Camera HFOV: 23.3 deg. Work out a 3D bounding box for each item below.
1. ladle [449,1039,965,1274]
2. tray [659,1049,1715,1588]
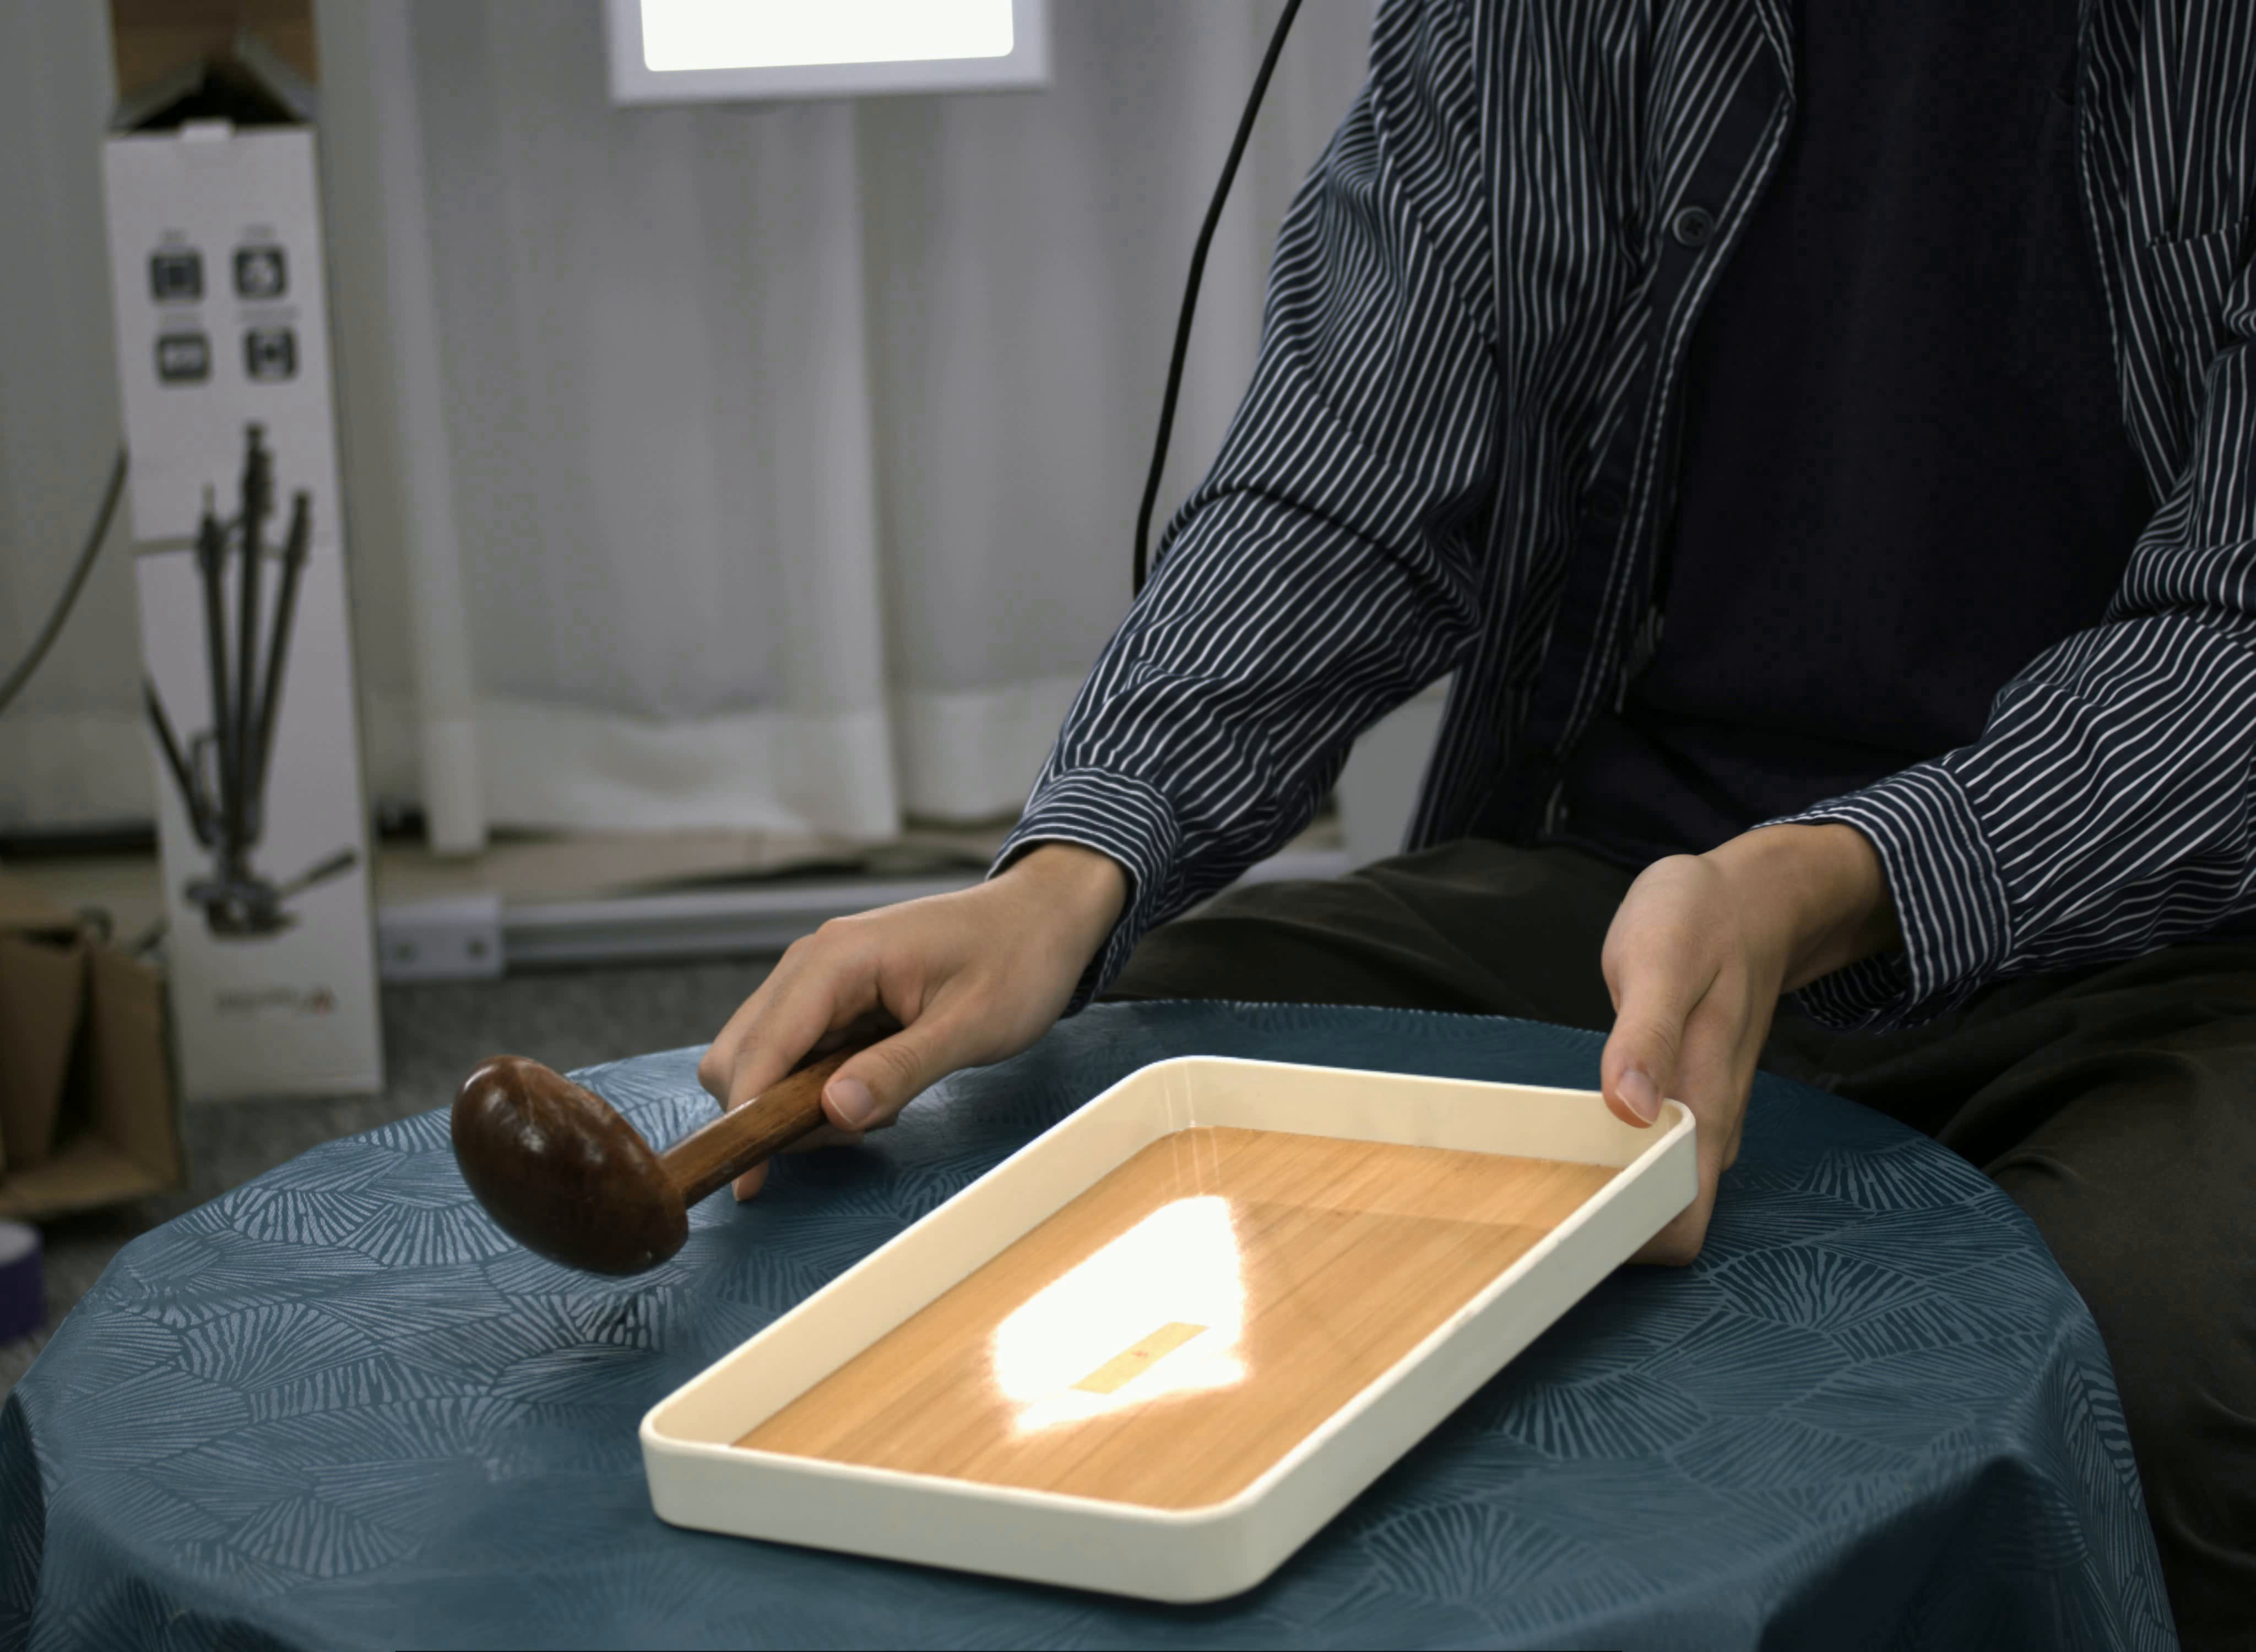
[{"bbox_3d":[-0.115,0.078,1.683,0.082,0.076,0.274,36,26,17],"label":"ladle"},{"bbox_3d":[0.024,0.133,1.546,0.192,0.027,0.301,4,20,31],"label":"tray"}]
